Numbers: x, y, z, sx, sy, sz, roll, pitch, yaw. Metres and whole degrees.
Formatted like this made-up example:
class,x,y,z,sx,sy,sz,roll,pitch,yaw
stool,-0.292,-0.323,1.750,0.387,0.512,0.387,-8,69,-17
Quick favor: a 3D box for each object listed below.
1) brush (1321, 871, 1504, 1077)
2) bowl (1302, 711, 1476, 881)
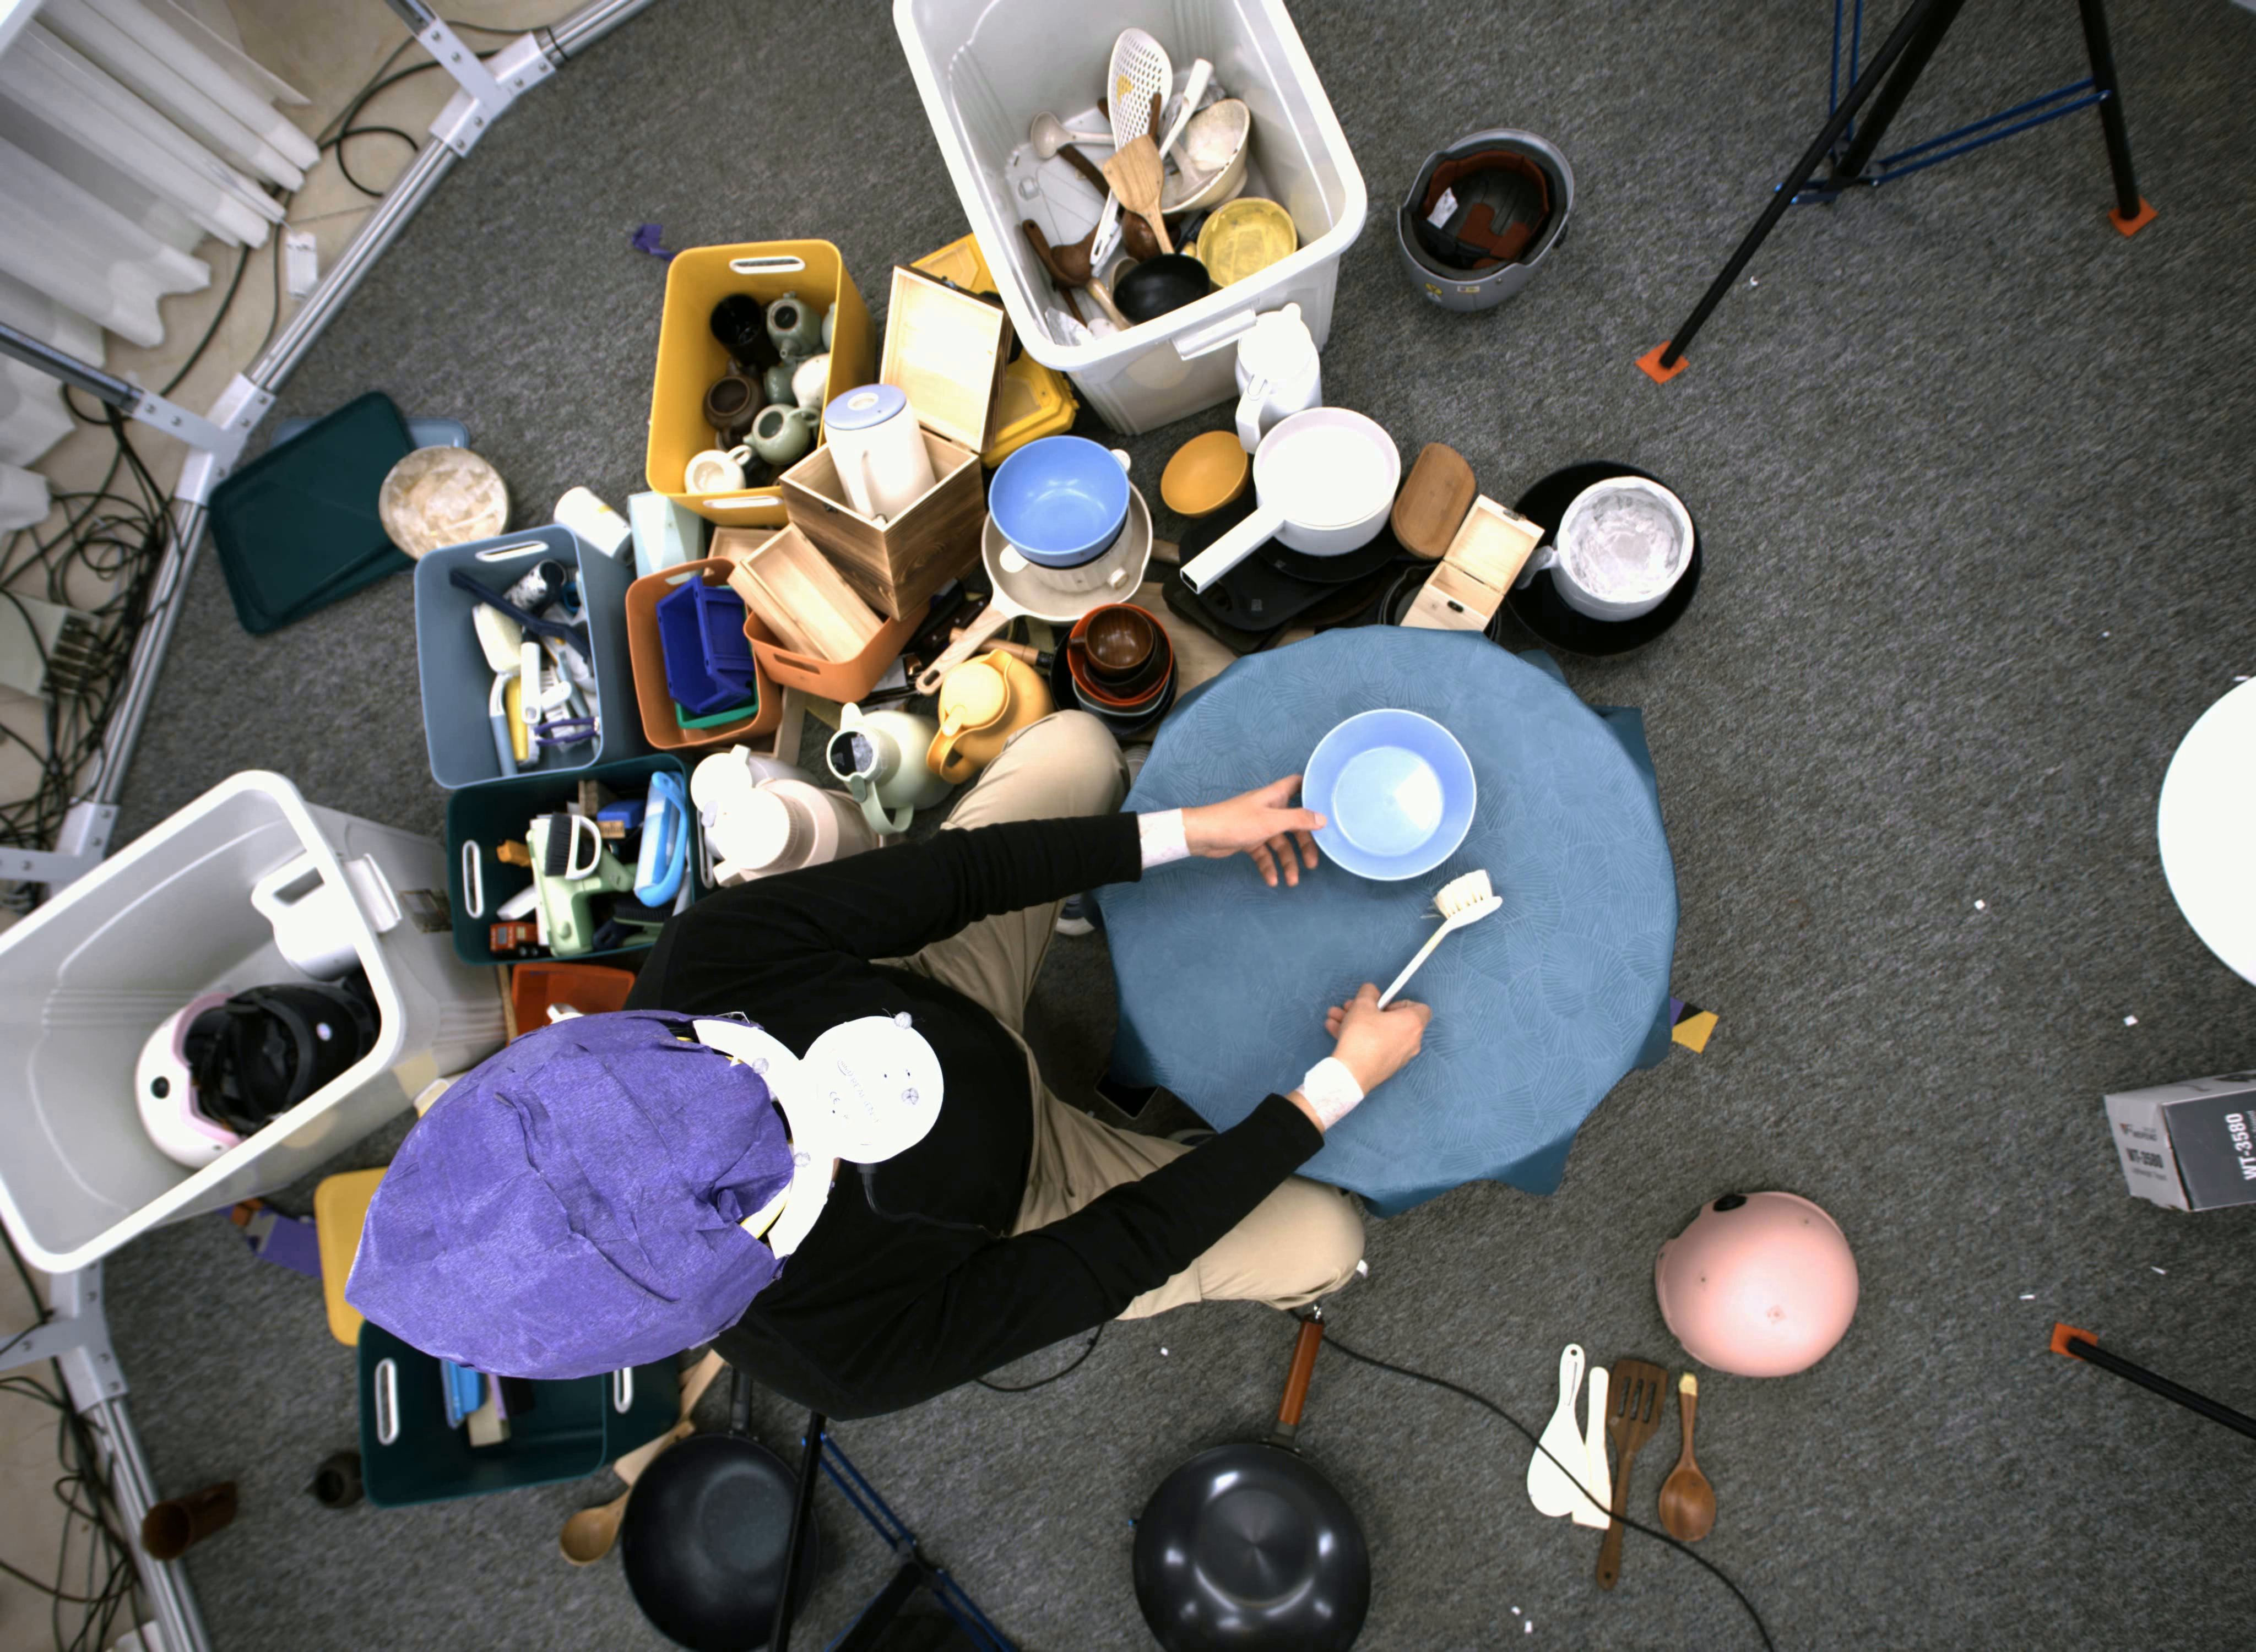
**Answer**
class,x,y,z,sx,sy,sz,roll,pitch,yaw
brush,0.277,0.145,1.416,0.267,0.069,0.055,-45,67,3
bowl,0.270,-0.029,1.429,0.177,0.070,0.175,-1,86,11
